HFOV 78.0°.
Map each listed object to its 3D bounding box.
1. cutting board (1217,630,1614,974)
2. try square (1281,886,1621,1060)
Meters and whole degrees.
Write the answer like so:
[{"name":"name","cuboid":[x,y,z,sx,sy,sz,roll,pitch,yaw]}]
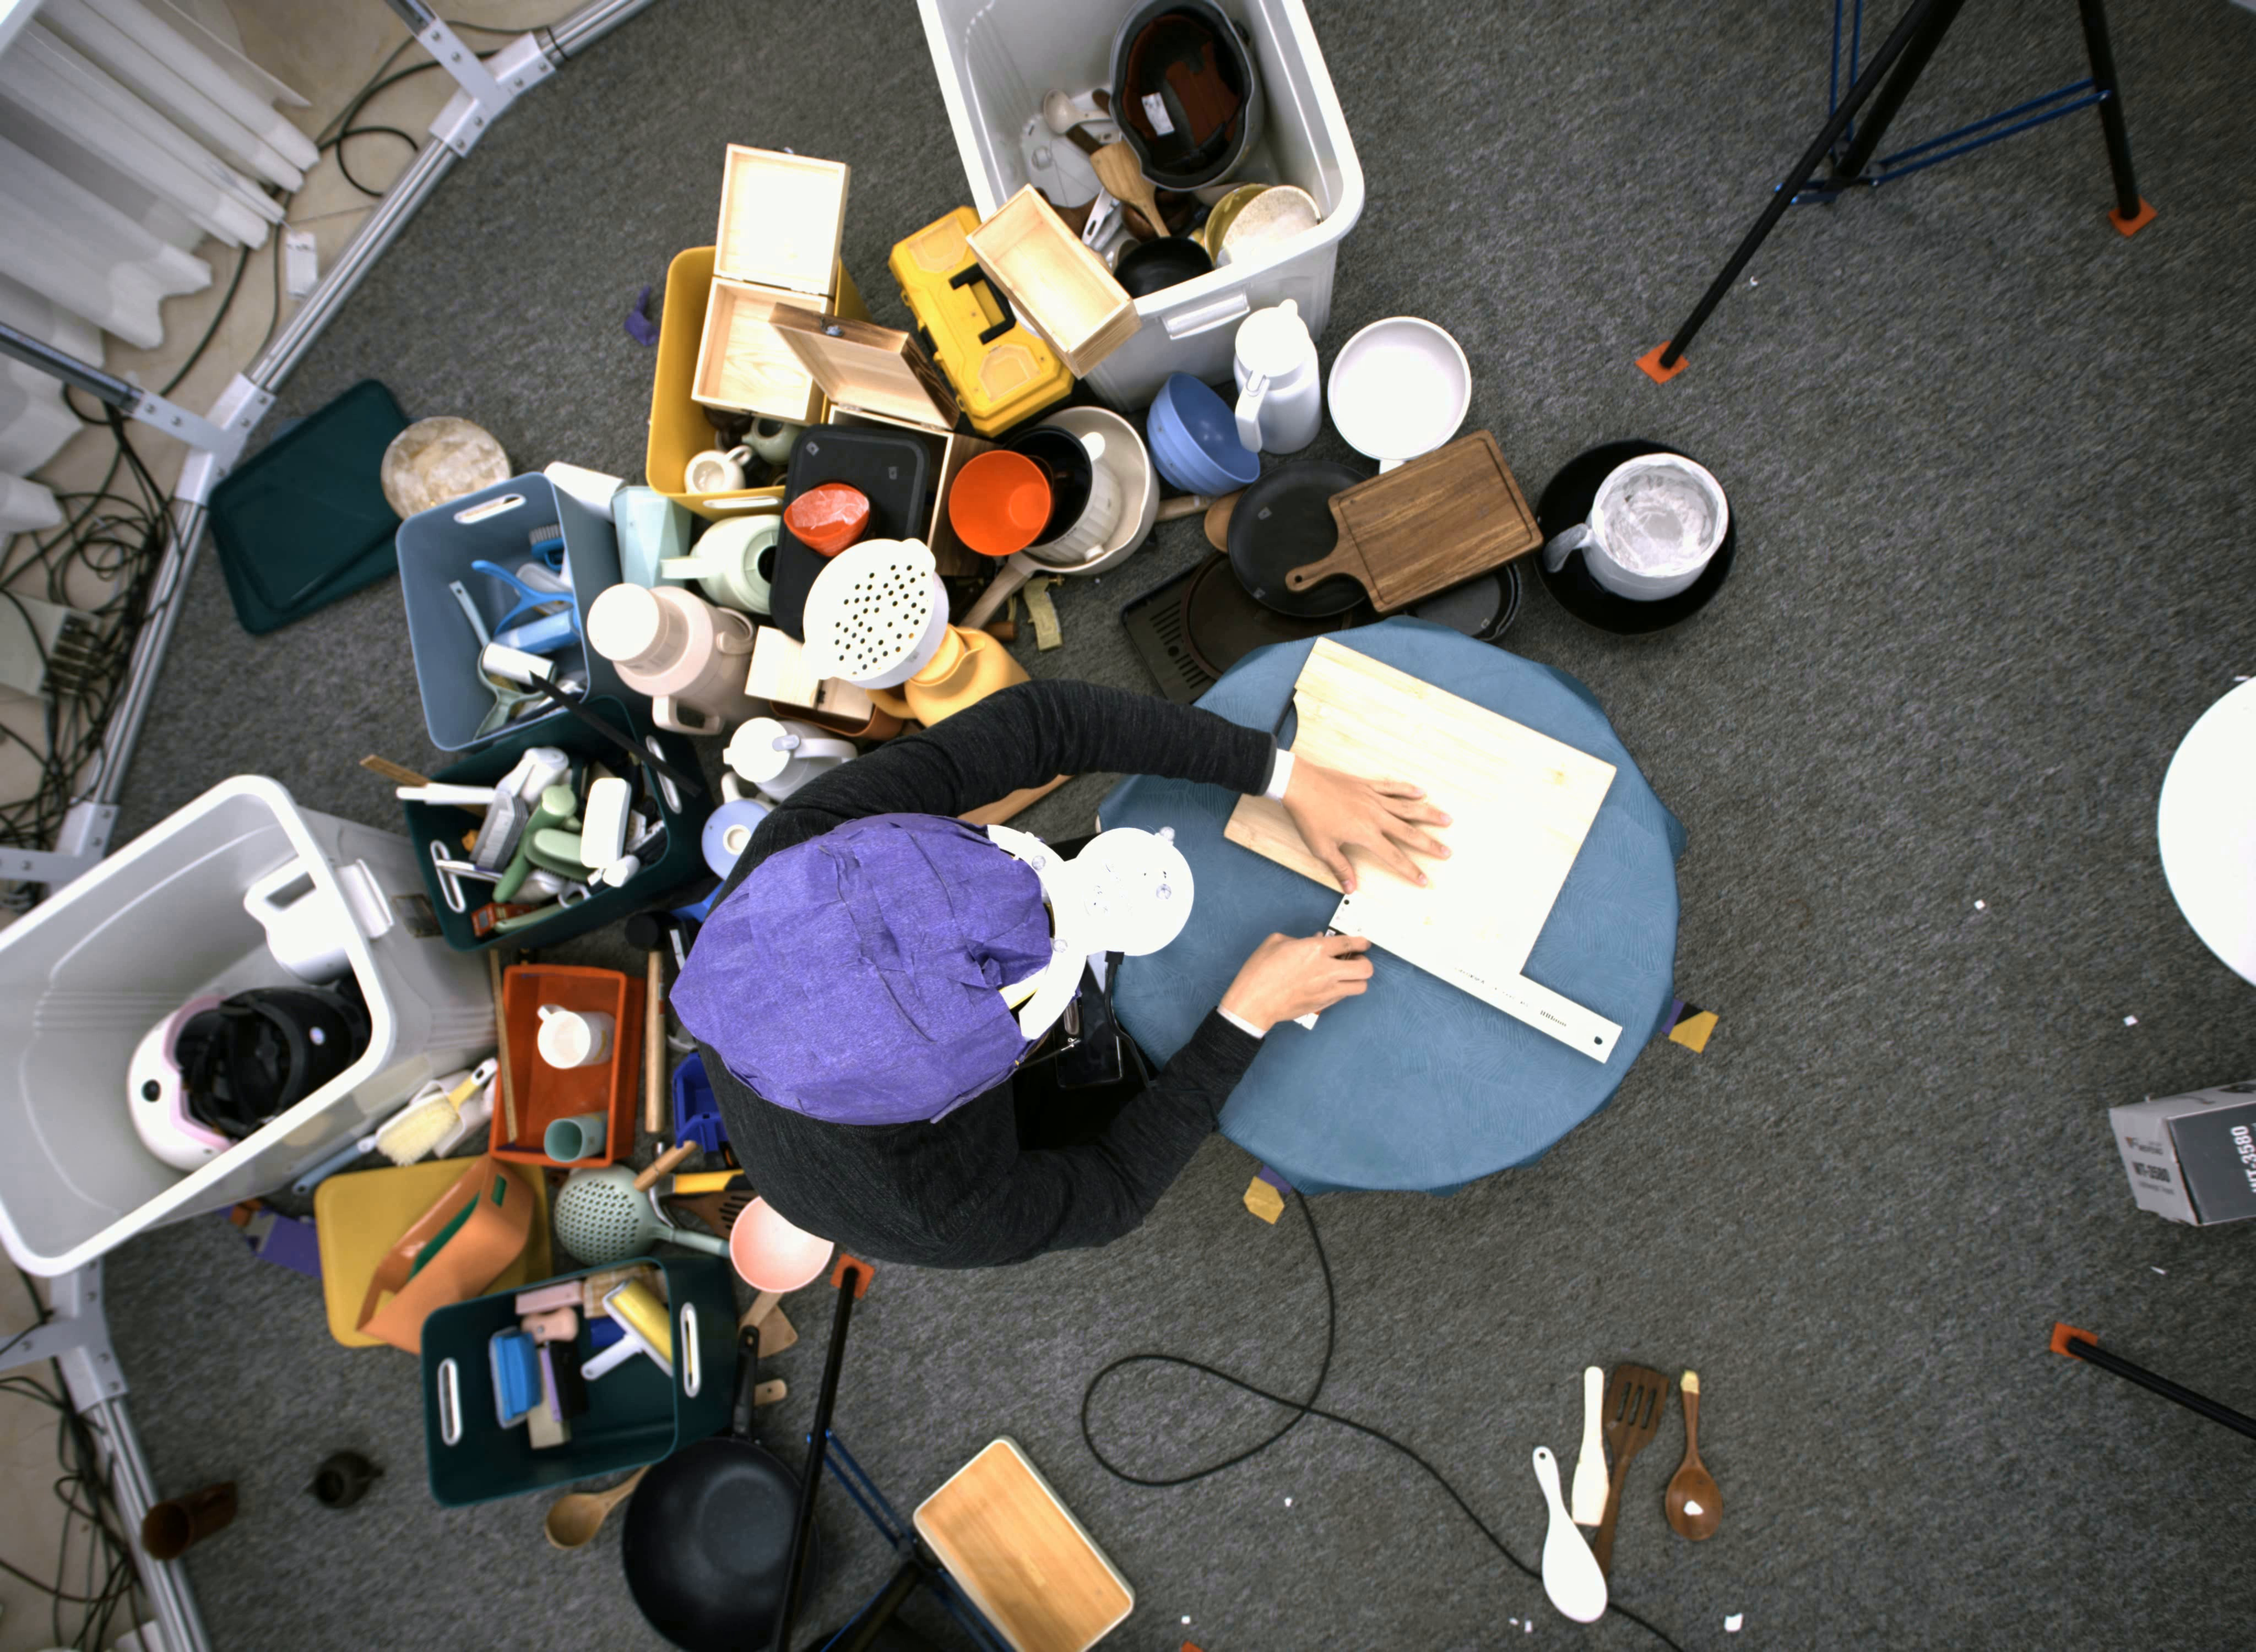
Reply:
[{"name":"cutting board","cuboid":[0.299,-0.029,1.452,0.348,0.023,0.251,25,91,11]},{"name":"try square","cuboid":[0.329,0.195,1.421,0.312,0.016,0.152,27,90,11]}]
